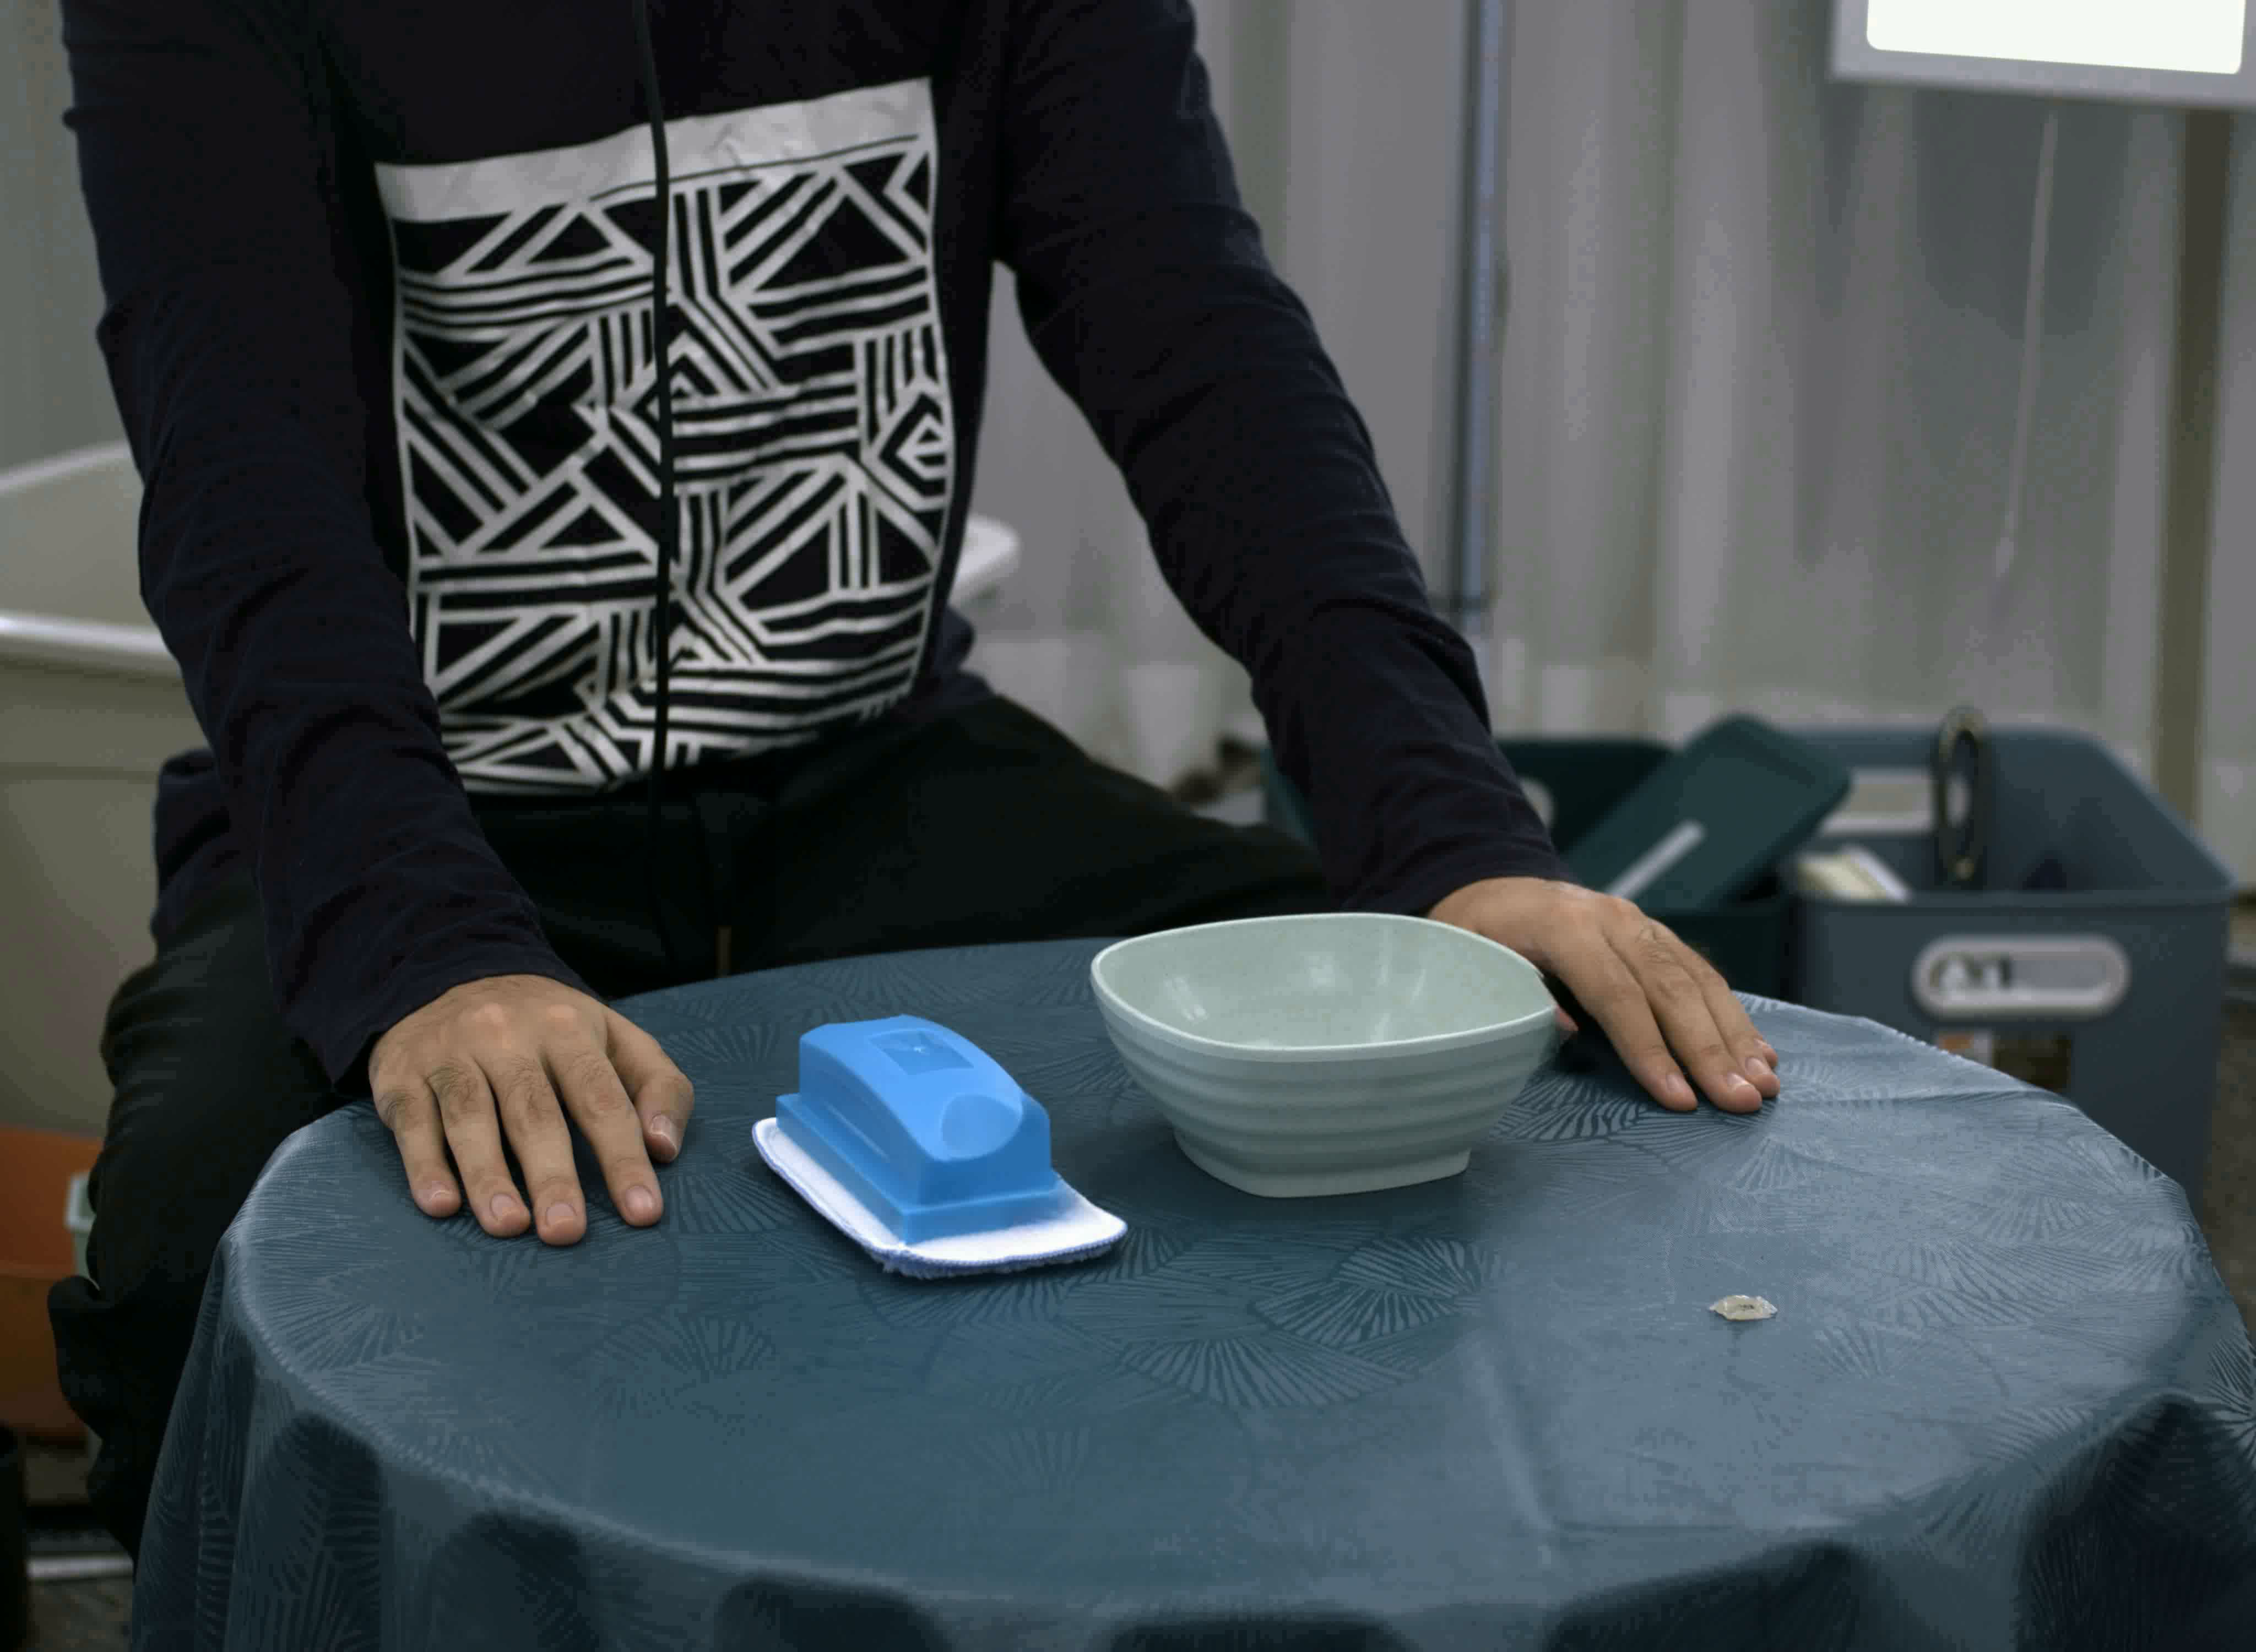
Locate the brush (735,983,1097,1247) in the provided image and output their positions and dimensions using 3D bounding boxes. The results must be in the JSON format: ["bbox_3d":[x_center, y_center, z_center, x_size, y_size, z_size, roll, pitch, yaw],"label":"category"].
[{"bbox_3d":[-0.064,0.086,1.606,0.084,0.056,0.142,-1,17,-21],"label":"brush"}]

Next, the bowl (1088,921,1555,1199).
[{"bbox_3d":[0.059,0.076,1.657,0.151,0.059,0.150,2,15,0],"label":"bowl"}]
